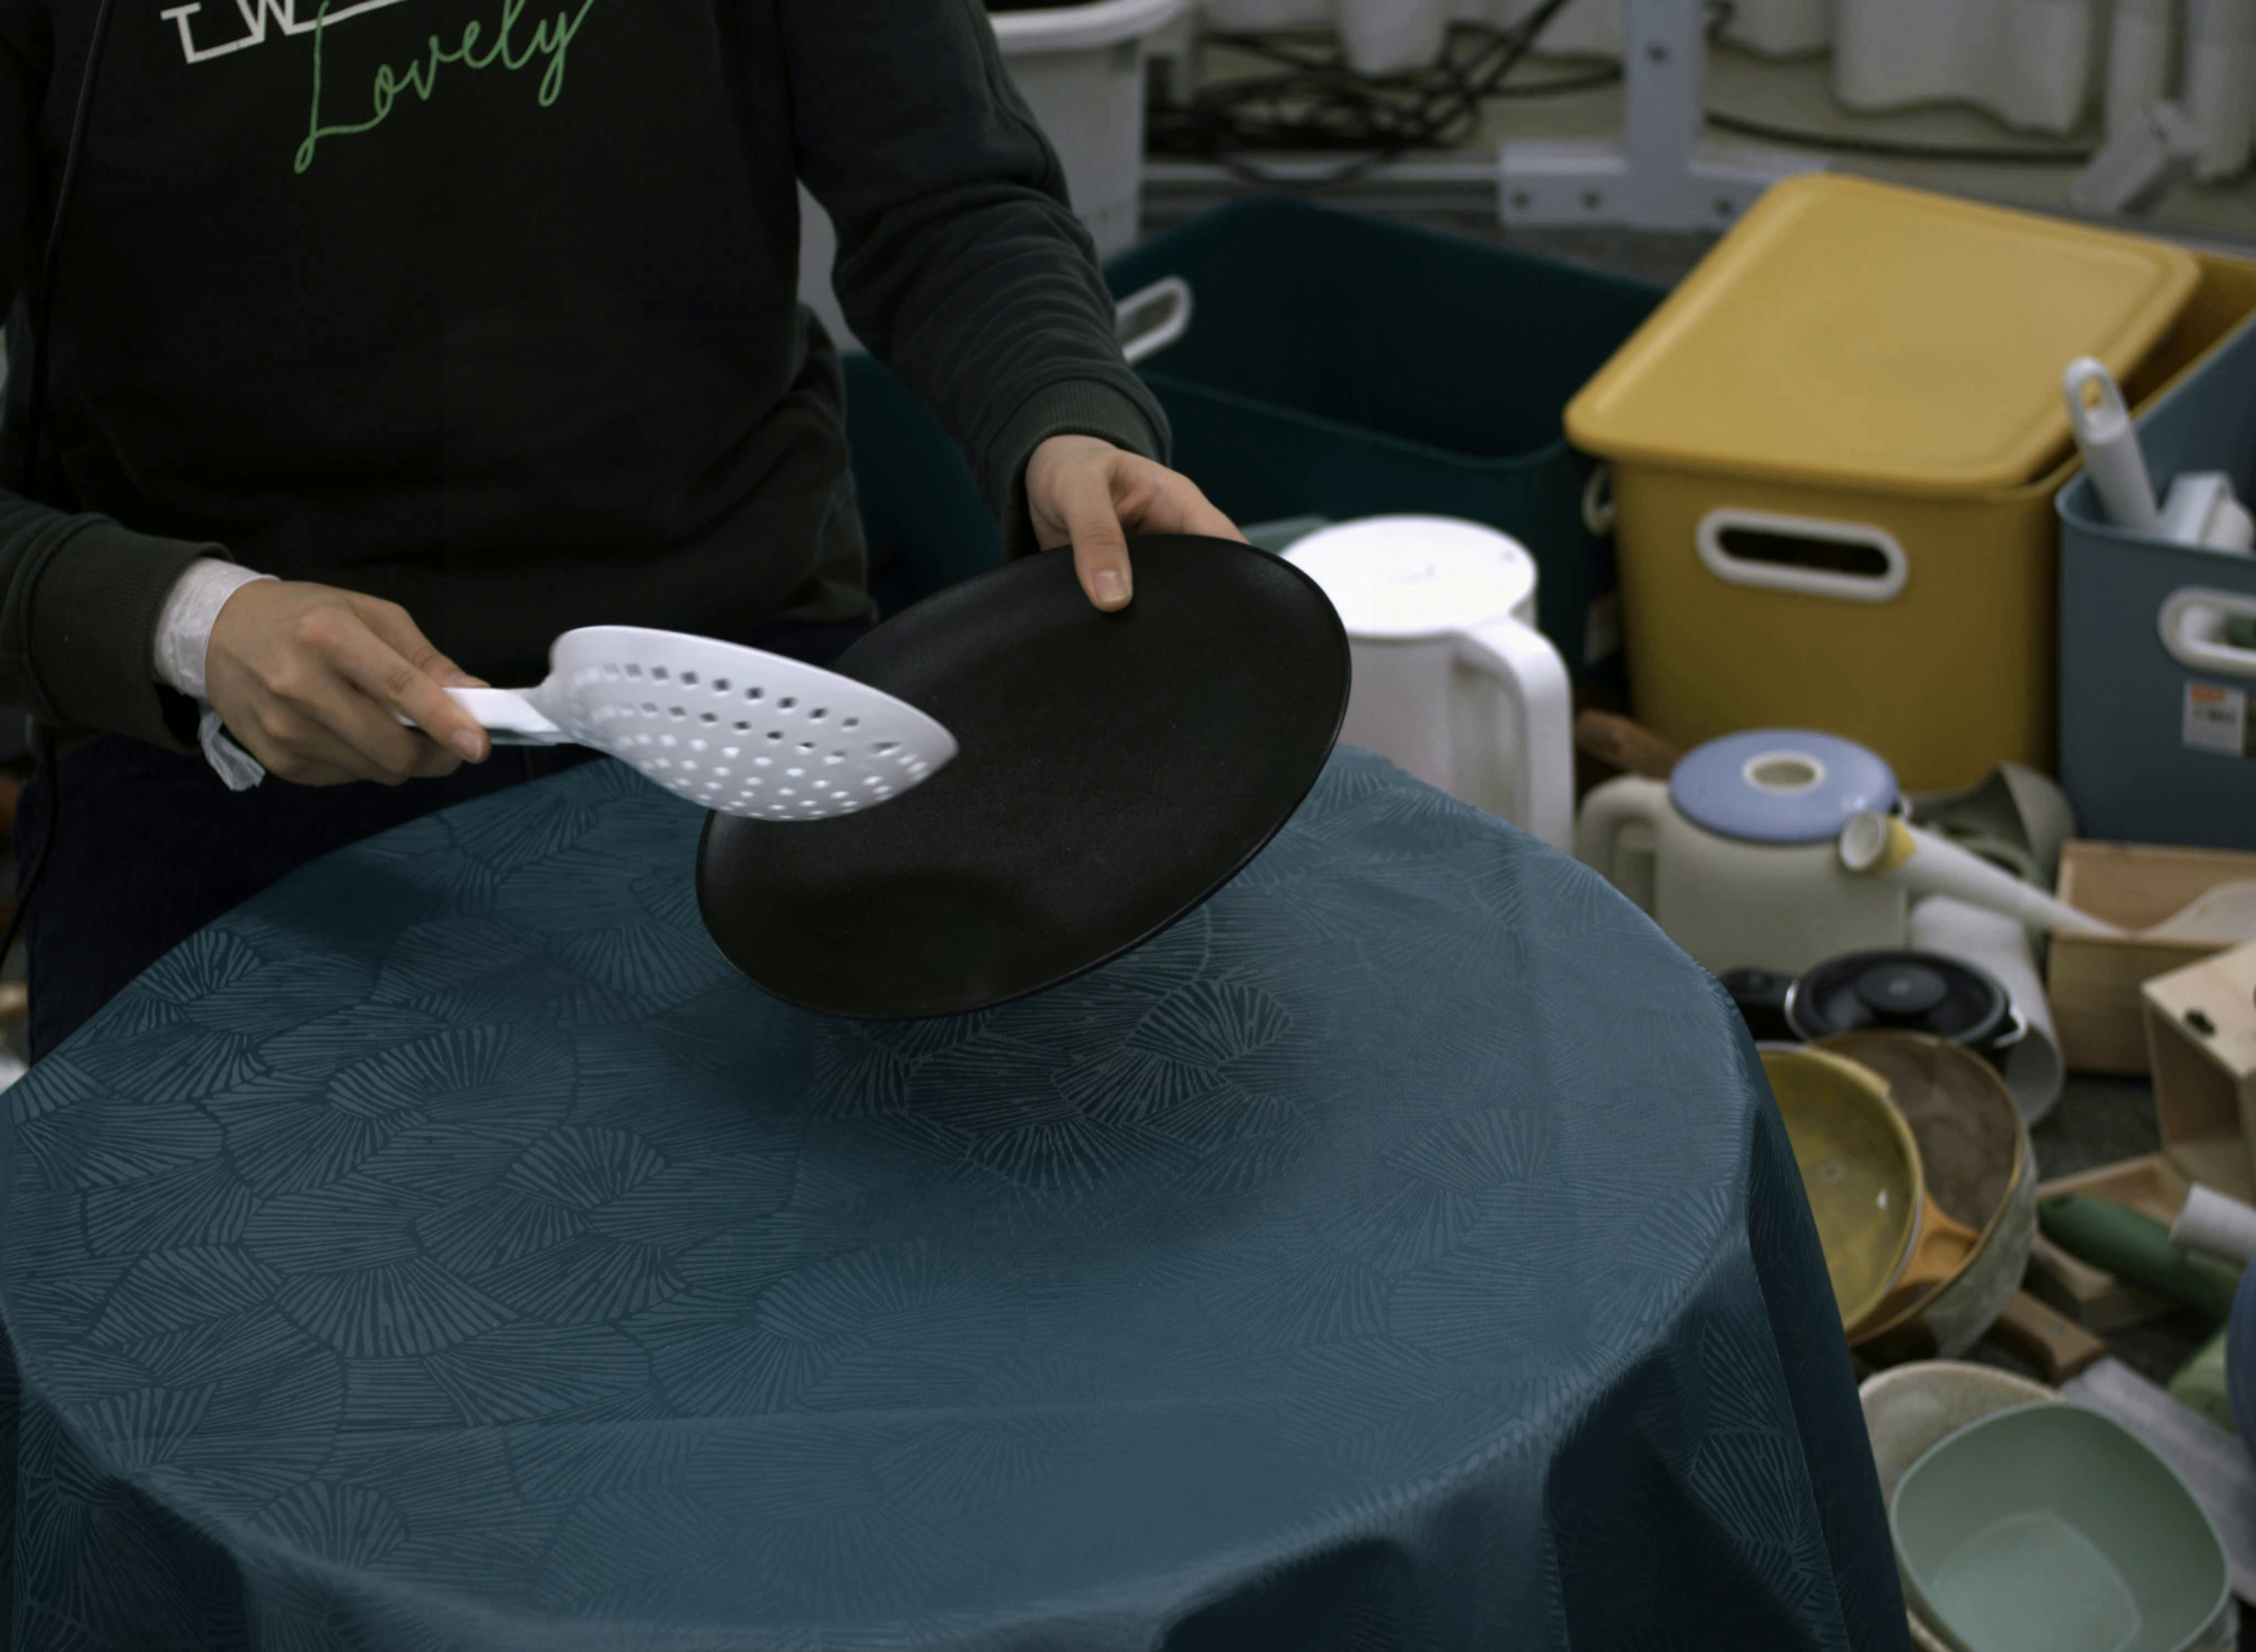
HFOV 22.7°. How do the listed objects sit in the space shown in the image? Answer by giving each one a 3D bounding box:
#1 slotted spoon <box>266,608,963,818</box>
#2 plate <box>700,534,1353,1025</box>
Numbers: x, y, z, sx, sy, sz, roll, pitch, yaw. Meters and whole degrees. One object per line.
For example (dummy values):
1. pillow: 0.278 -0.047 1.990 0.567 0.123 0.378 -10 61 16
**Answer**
1. slotted spoon: -0.194 -0.038 1.947 0.135 0.046 0.347 28 -14 -39
2. plate: -0.033 -0.013 1.931 0.242 0.023 0.249 -17 36 13
